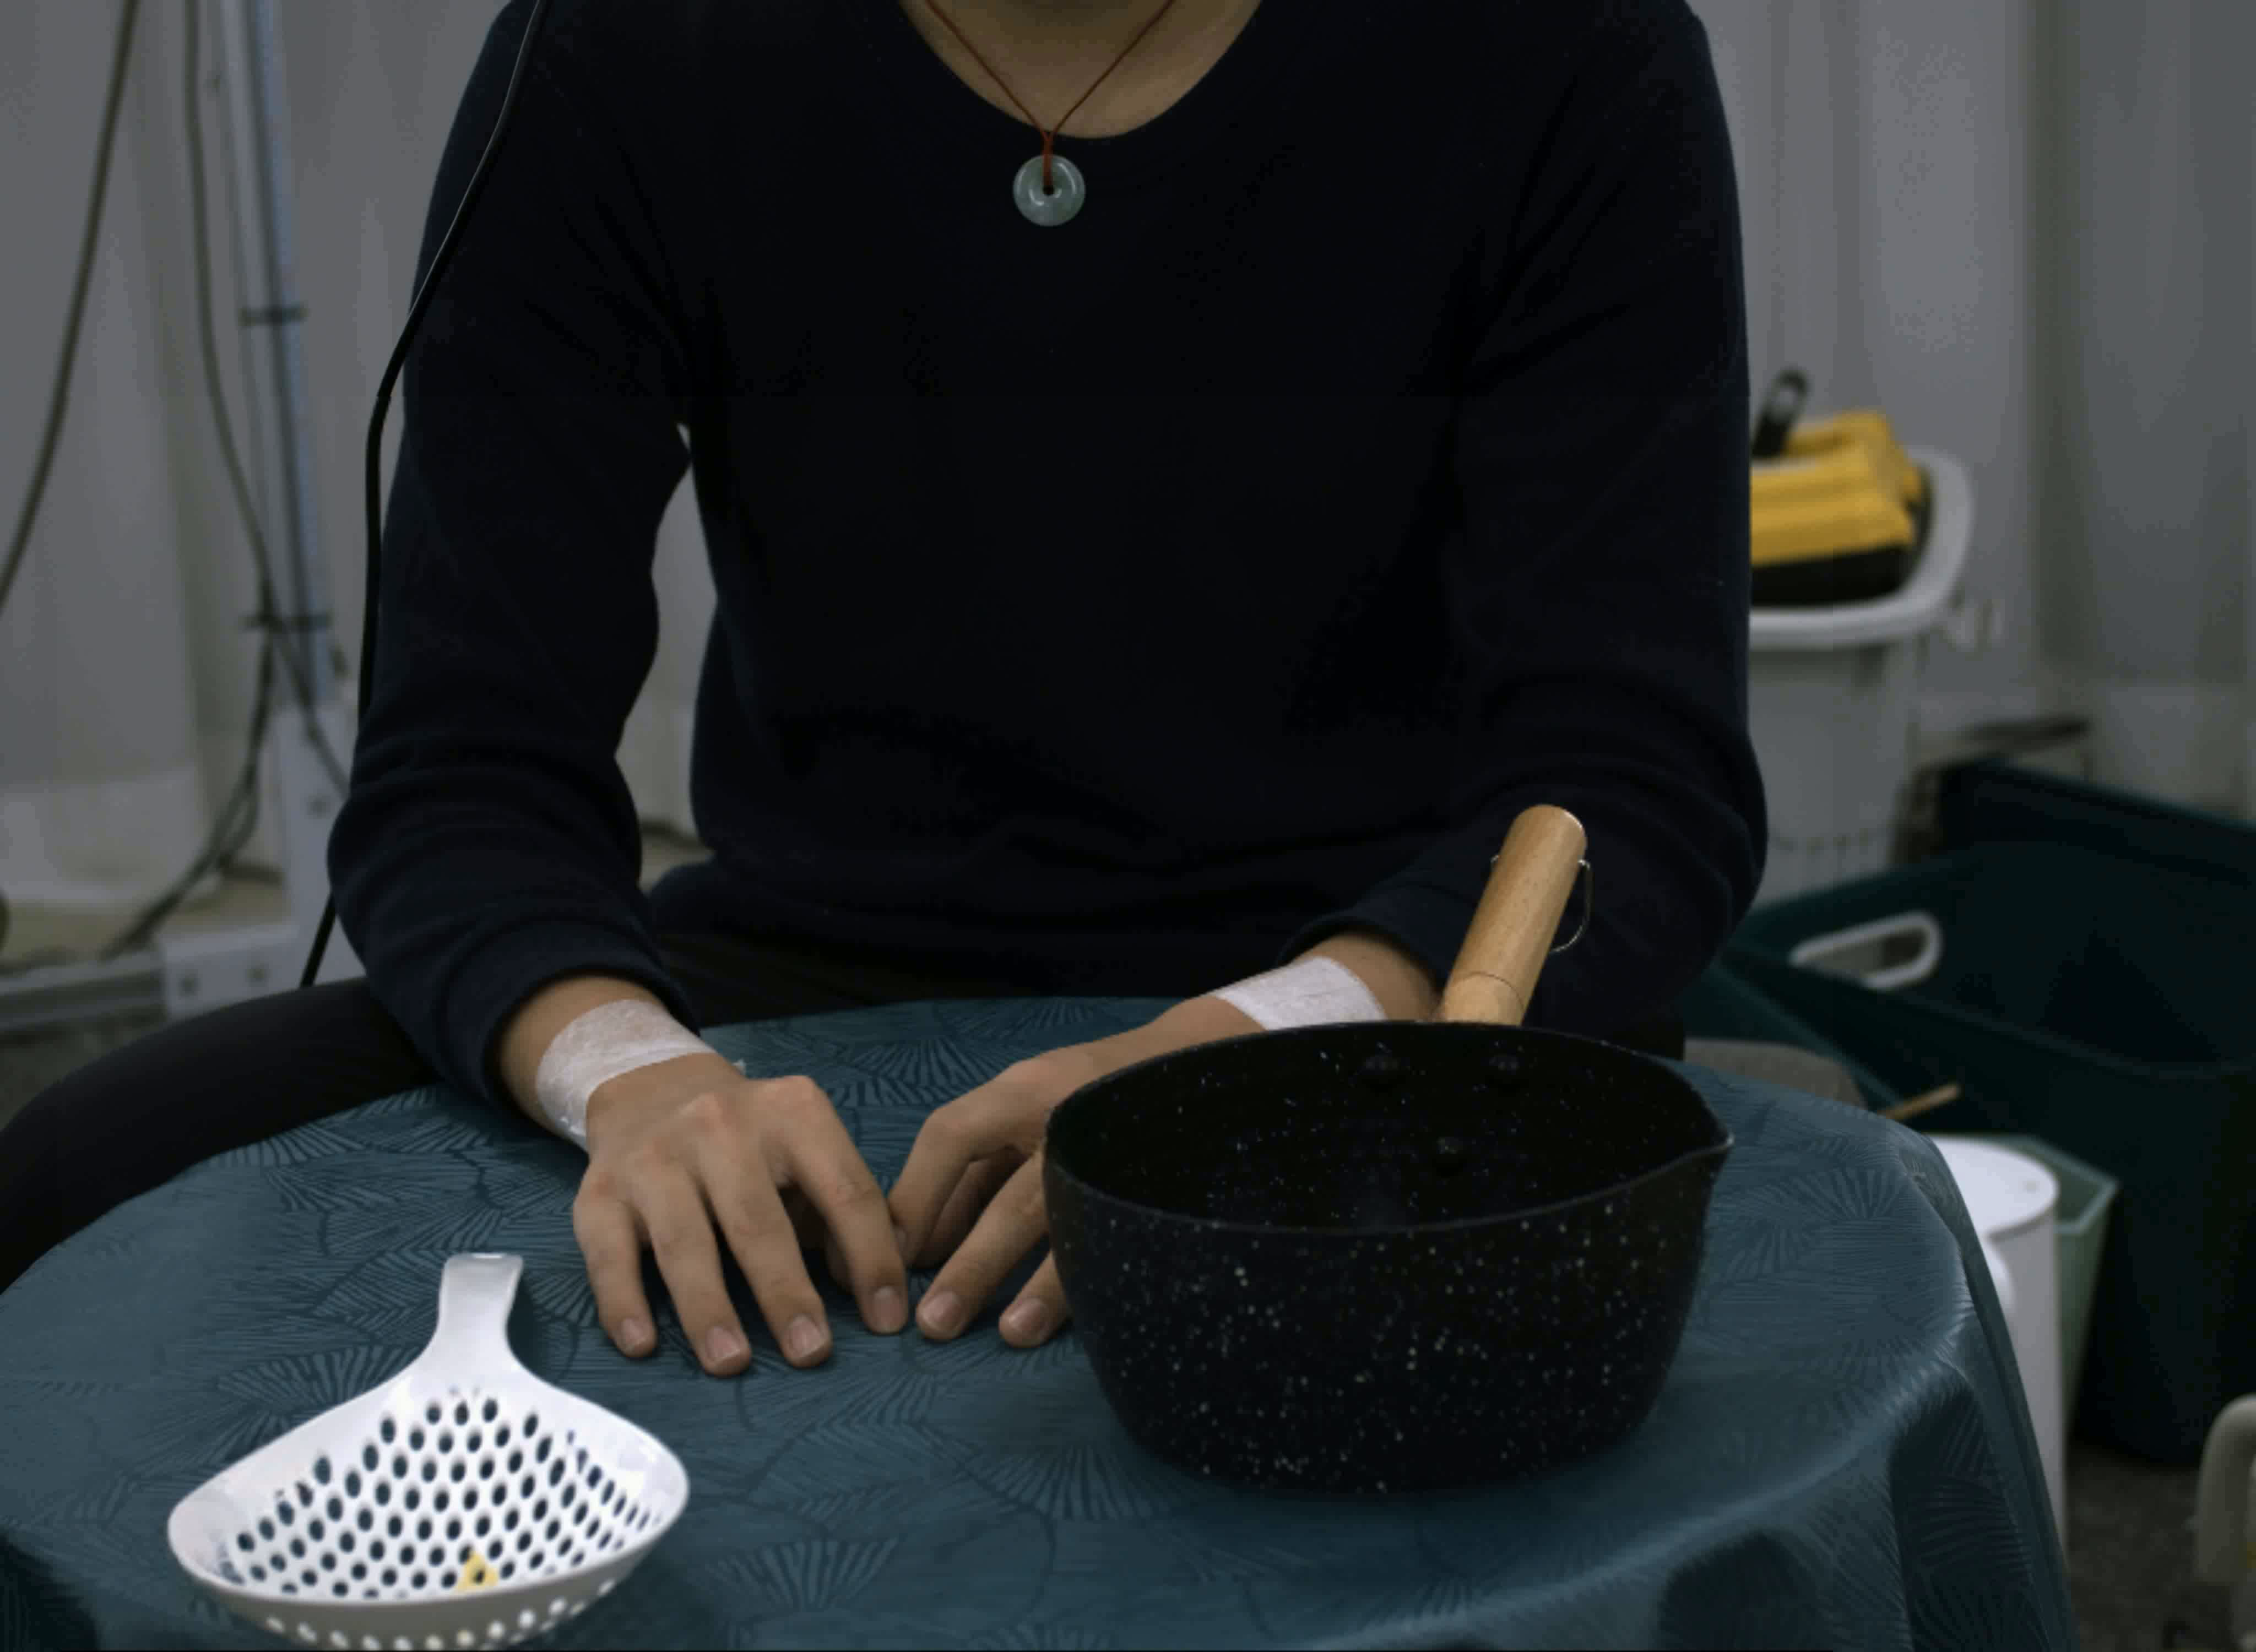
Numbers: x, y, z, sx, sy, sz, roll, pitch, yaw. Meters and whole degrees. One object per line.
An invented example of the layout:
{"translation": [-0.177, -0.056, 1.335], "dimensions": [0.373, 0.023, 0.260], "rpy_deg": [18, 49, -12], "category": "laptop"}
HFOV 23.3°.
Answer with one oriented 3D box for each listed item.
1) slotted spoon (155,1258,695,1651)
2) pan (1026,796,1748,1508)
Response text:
{"translation": [-0.185, 0.160, 1.501], "dimensions": [0.136, 0.050, 0.351], "rpy_deg": [-5, 17, -3], "category": "slotted spoon"}
{"translation": [0.089, 0.089, 1.587], "dimensions": [0.207, 0.108, 0.344], "rpy_deg": [0, 16, 15], "category": "pan"}
